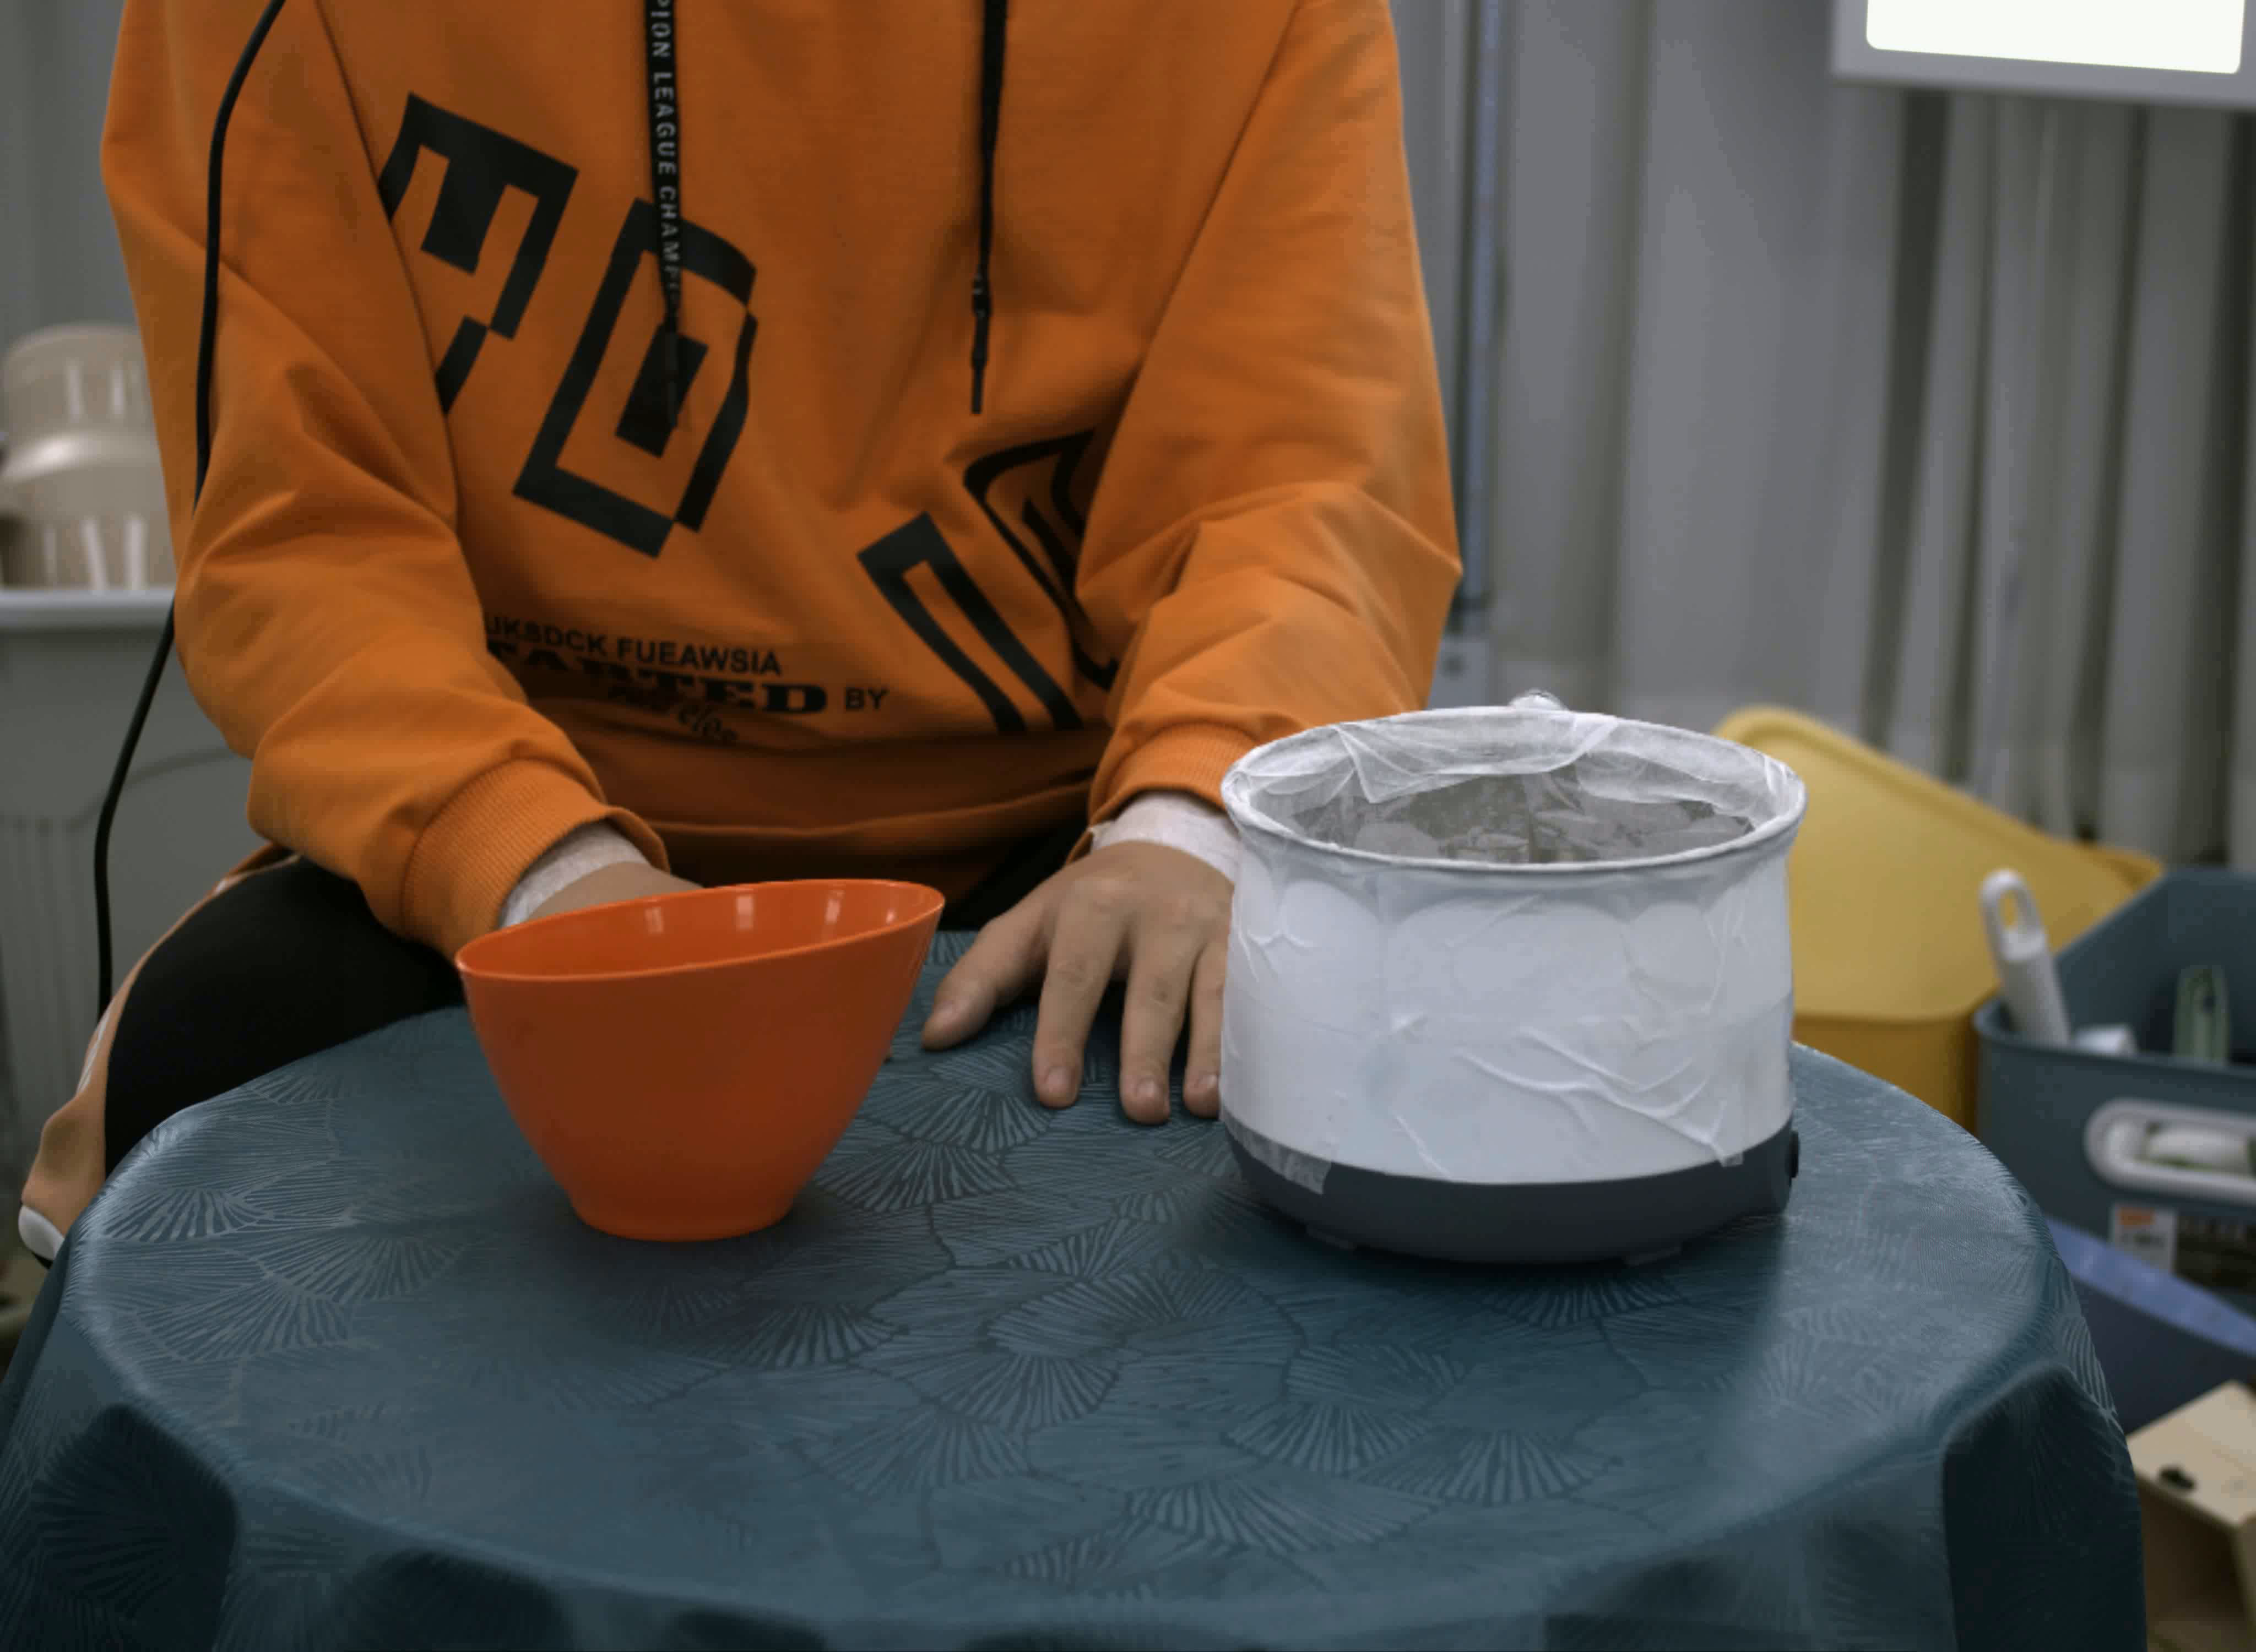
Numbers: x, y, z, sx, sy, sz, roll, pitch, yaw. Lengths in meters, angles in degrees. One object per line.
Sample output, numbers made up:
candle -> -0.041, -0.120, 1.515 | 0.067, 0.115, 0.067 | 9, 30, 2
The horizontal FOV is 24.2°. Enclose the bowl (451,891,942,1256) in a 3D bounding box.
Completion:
bowl -> -0.129, 0.073, 1.584 | 0.147, 0.105, 0.147 | 0, 15, 1

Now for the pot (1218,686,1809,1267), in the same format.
pot -> 0.119, 0.041, 1.625 | 0.178, 0.138, 0.233 | 2, 16, 6
